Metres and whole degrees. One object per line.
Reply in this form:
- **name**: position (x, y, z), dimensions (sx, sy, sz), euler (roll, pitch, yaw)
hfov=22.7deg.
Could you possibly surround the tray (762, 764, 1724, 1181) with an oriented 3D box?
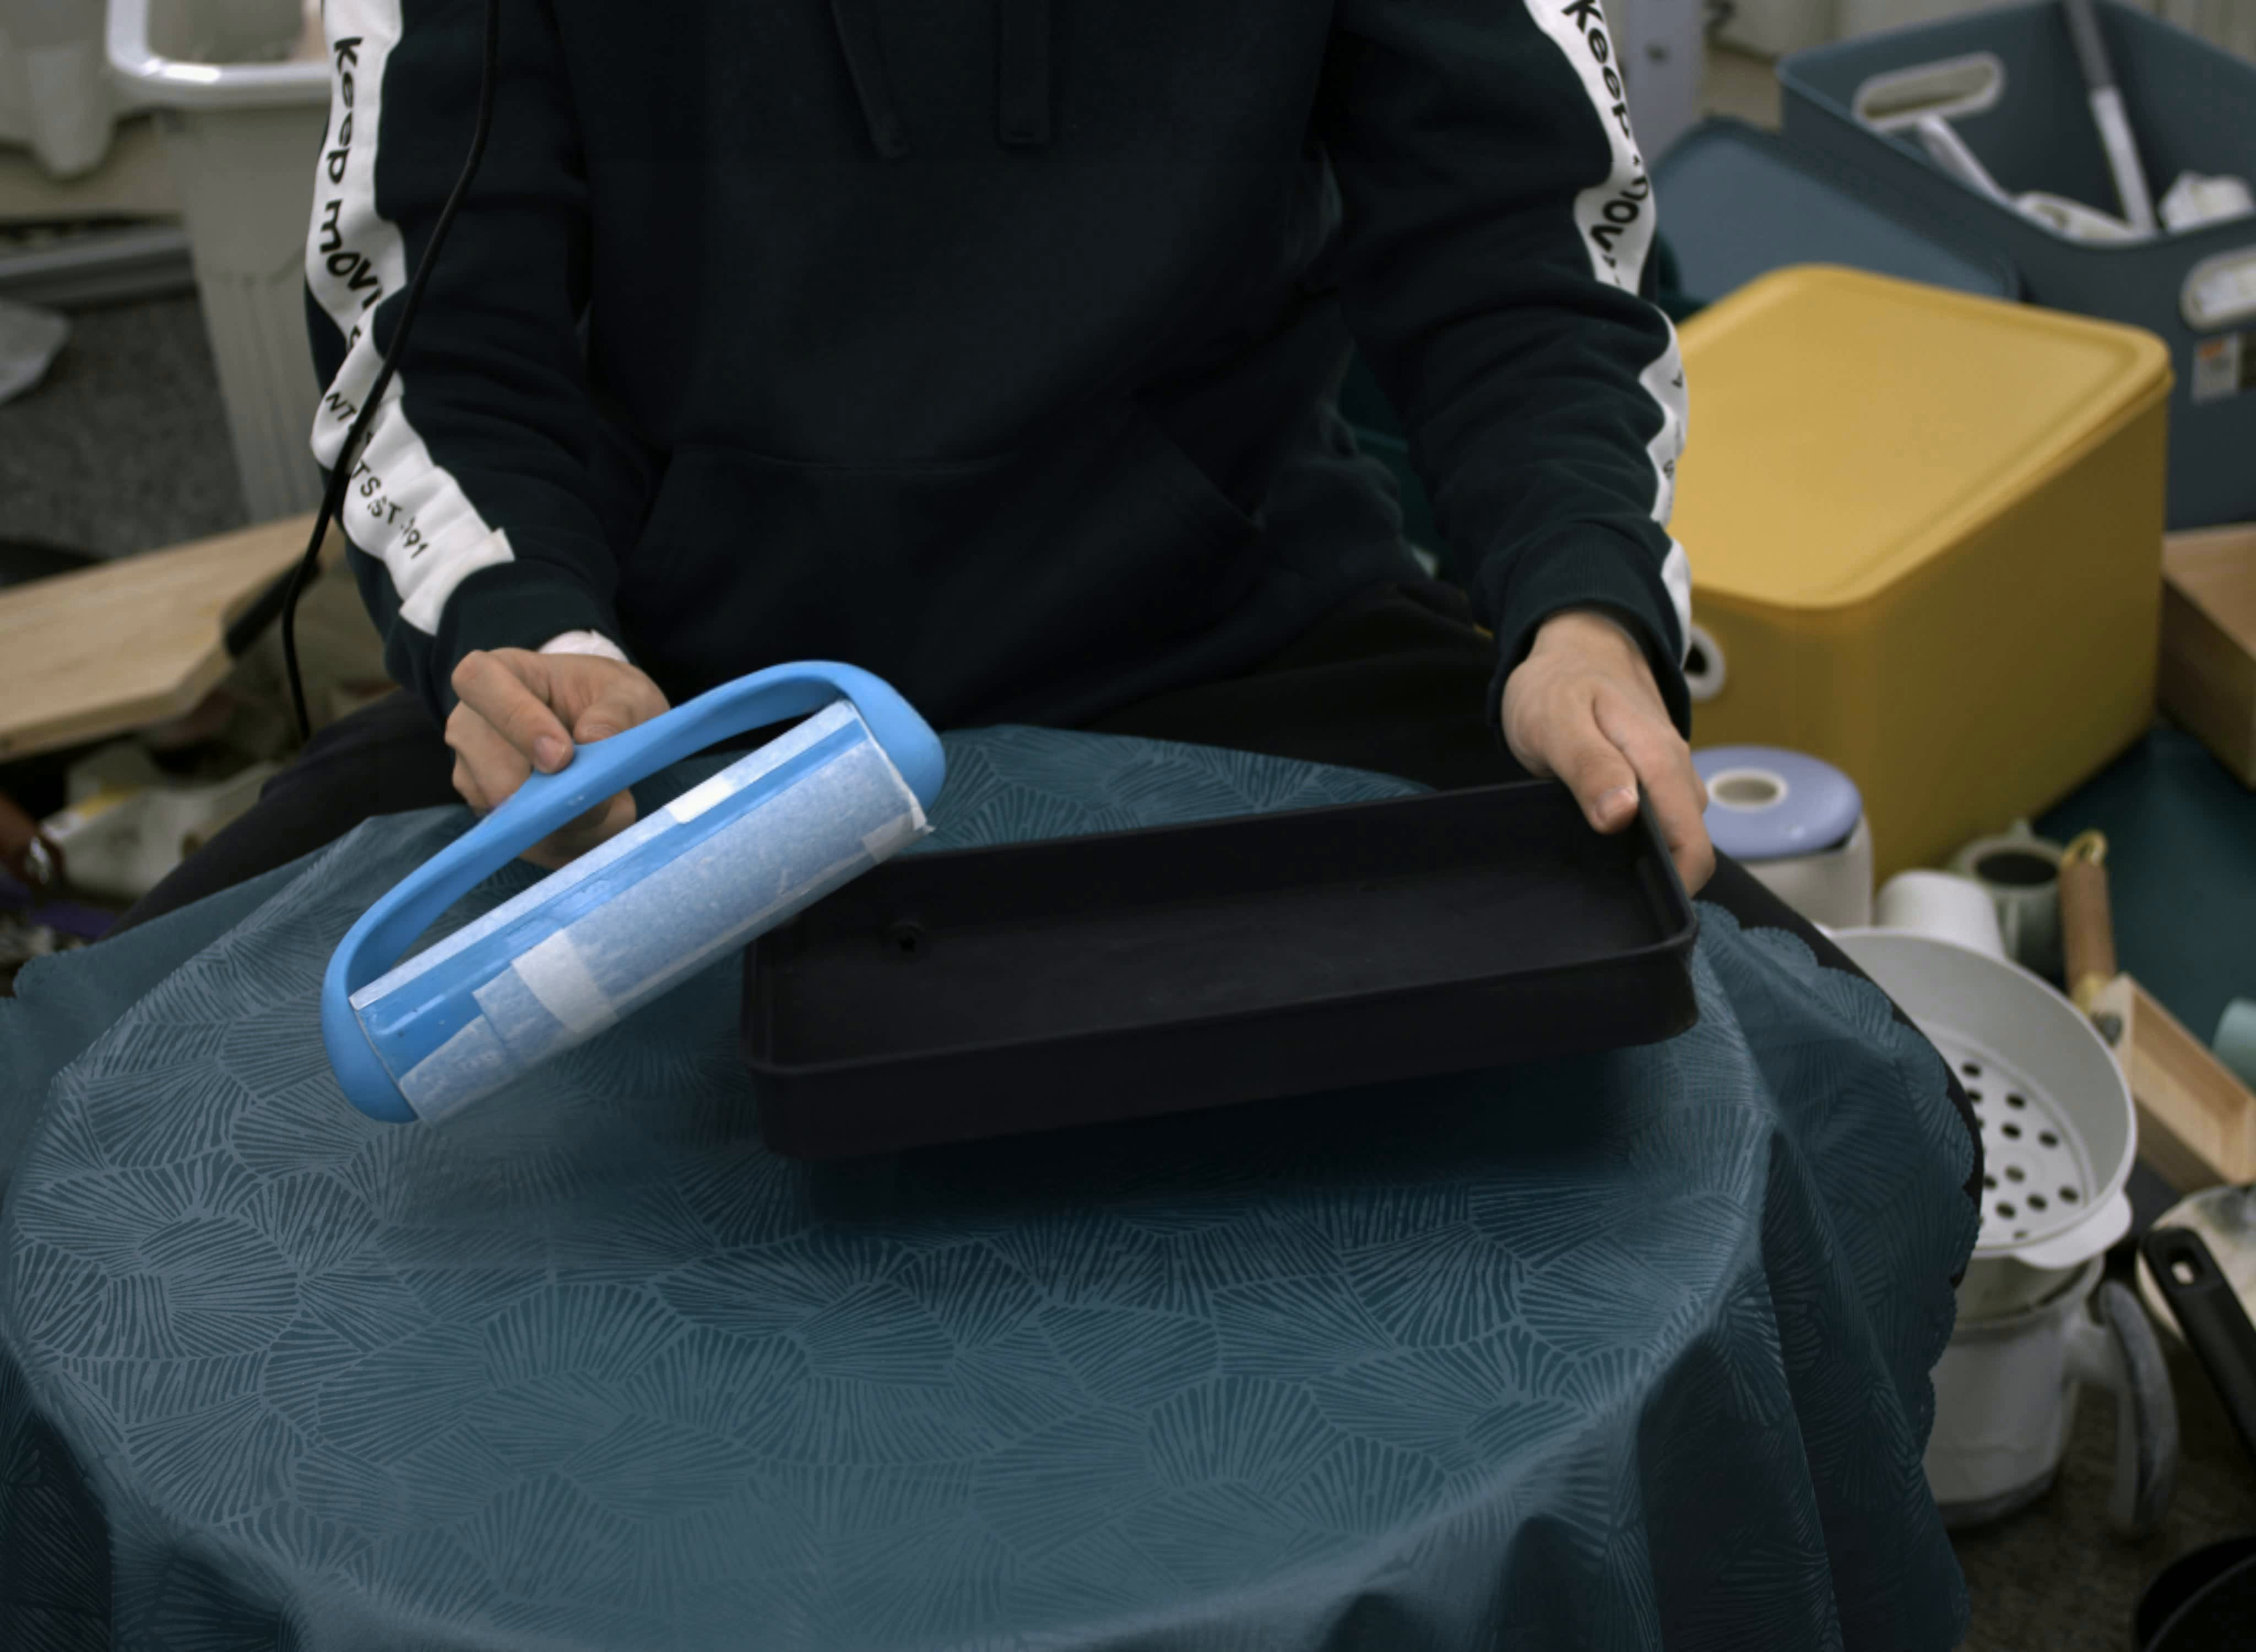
- **tray**: position (0.035, 0.047, 1.902), dimensions (0.317, 0.037, 0.186), euler (-10, 19, -2)

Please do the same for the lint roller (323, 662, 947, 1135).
- **lint roller**: position (-0.180, 0.007, 1.910), dimensions (0.229, 0.067, 0.181), euler (-34, 29, -6)
